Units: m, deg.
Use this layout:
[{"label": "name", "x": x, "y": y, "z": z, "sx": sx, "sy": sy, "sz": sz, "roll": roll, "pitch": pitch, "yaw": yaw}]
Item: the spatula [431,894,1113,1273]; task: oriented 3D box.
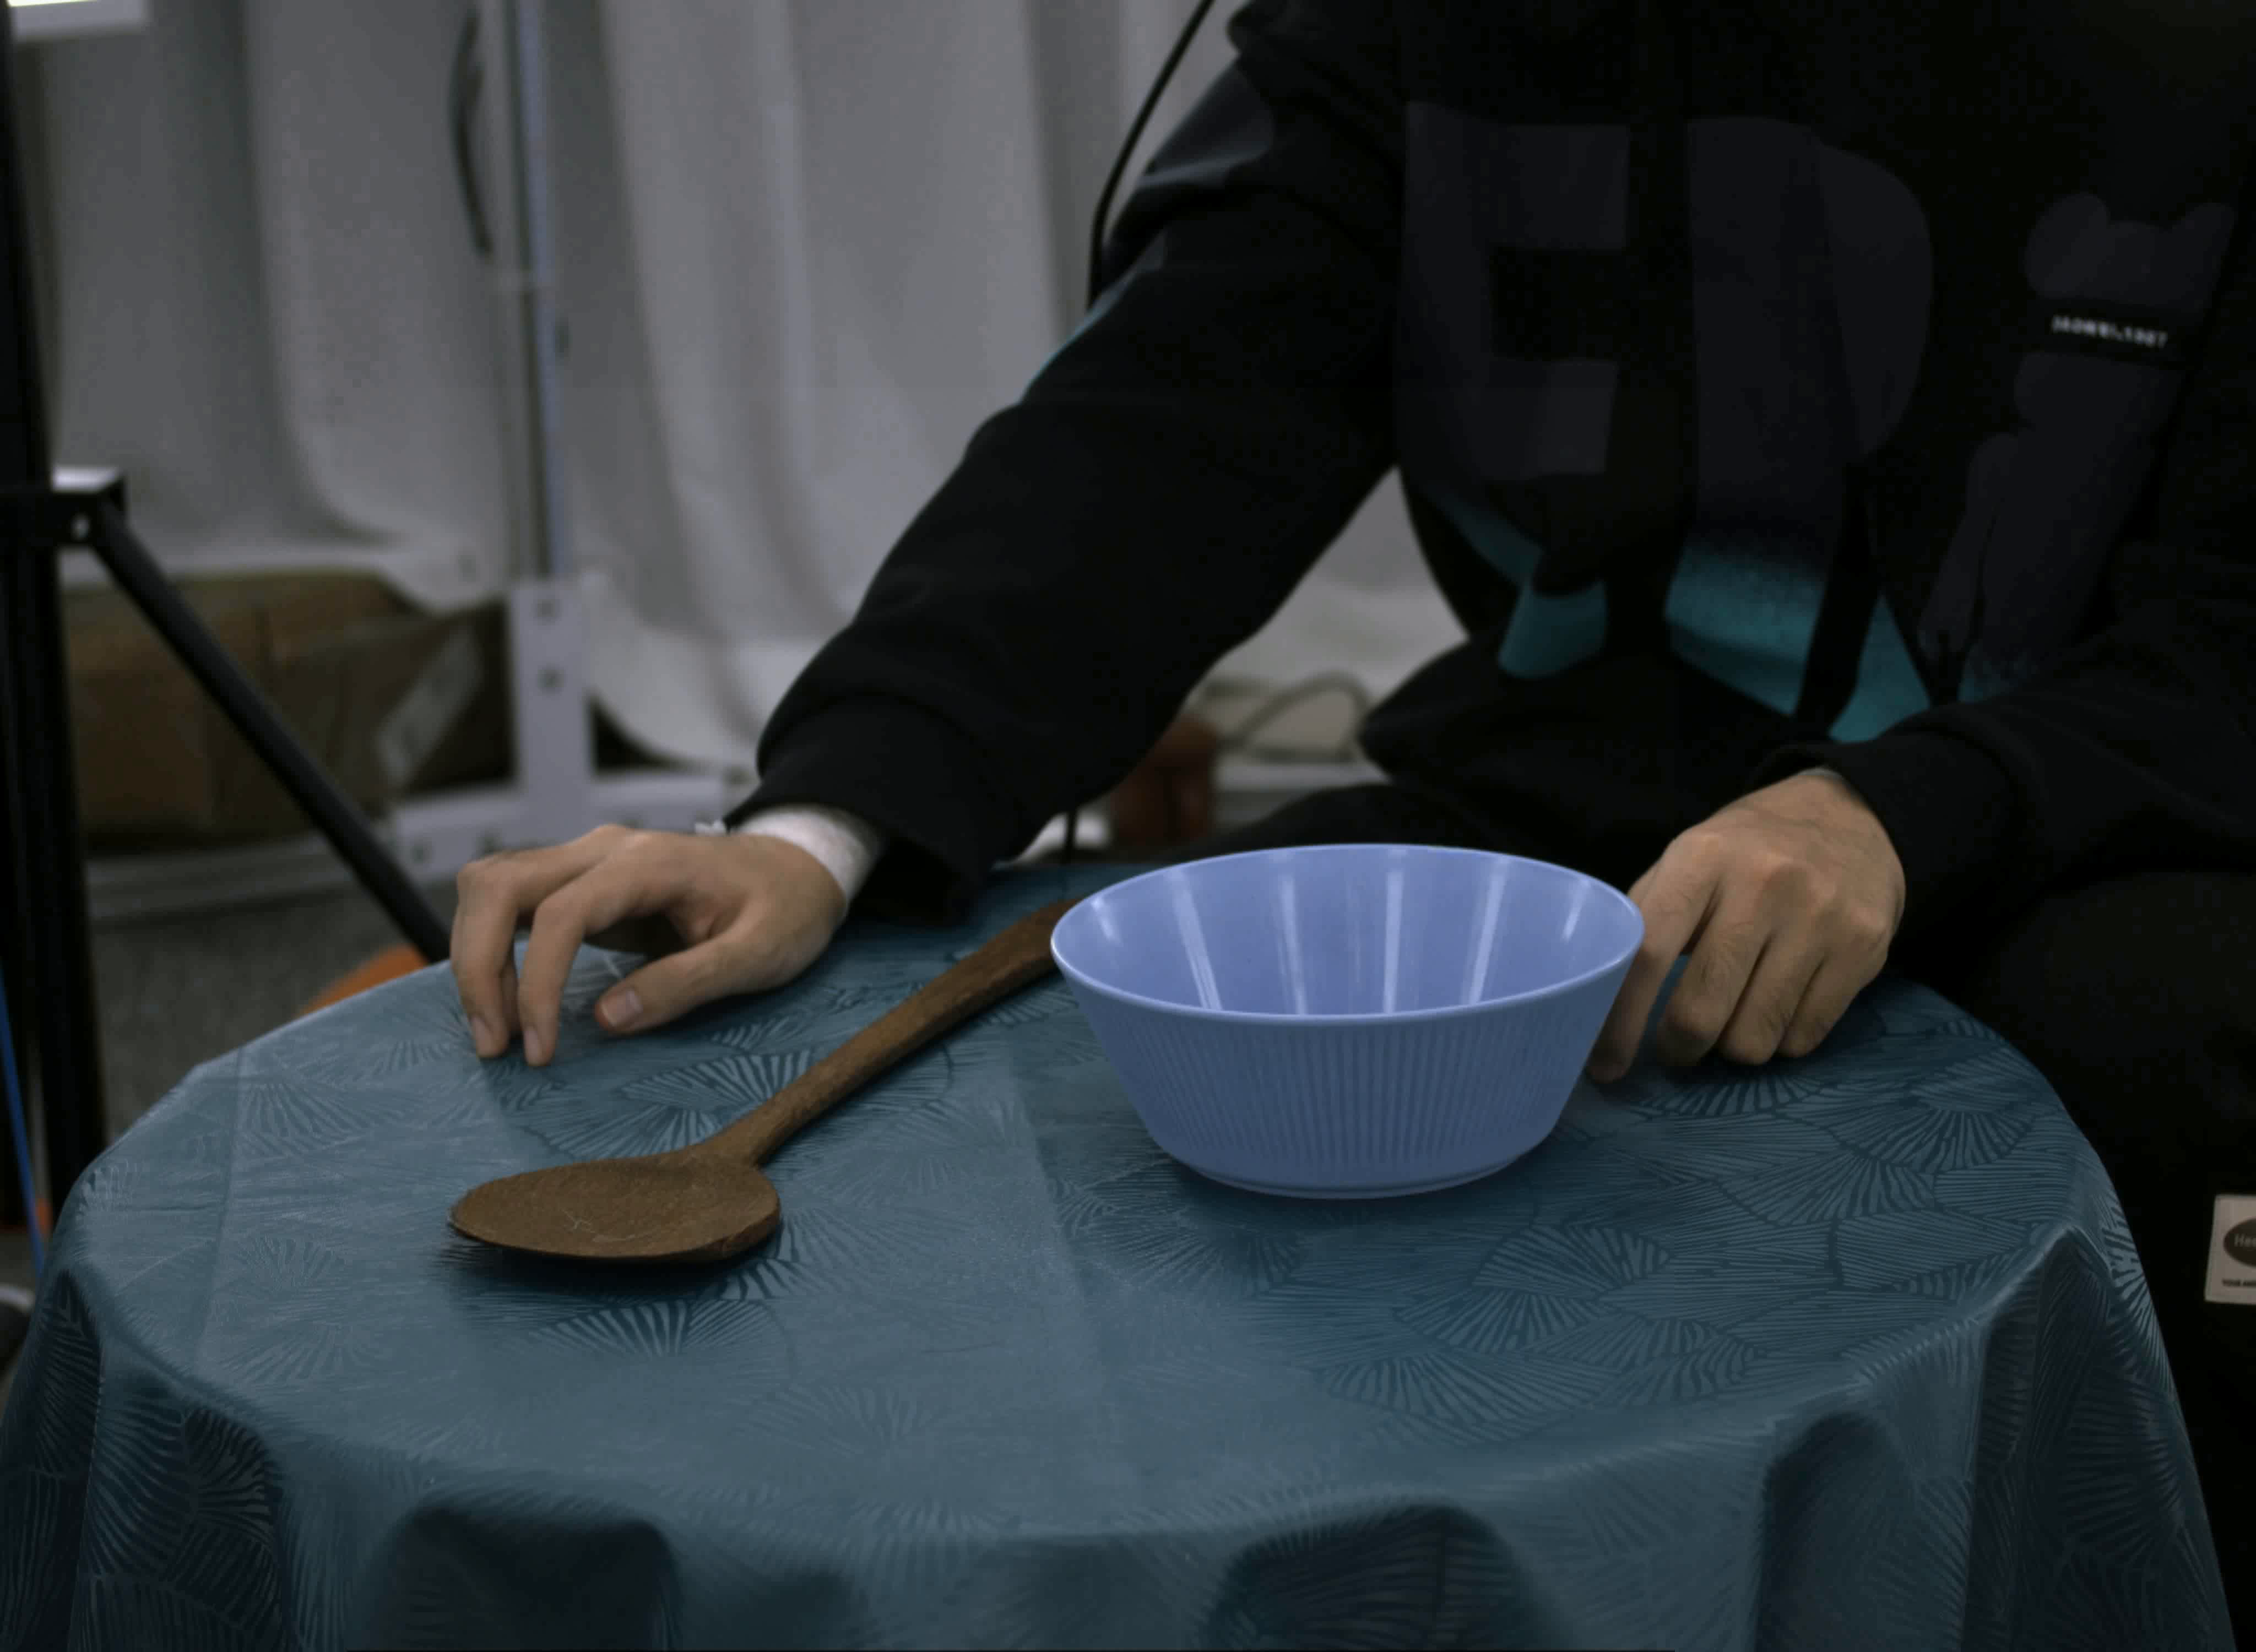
[{"label": "spatula", "x": -0.086, "y": 0.074, "z": 1.665, "sx": 0.097, "sy": 0.016, "sz": 0.380, "roll": 5, "pitch": 17, "yaw": 25}]

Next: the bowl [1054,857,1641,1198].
[{"label": "bowl", "x": 0.066, "y": 0.062, "z": 1.582, "sx": 0.175, "sy": 0.070, "sz": 0.177, "roll": -2, "pitch": 14, "yaw": -1}]
